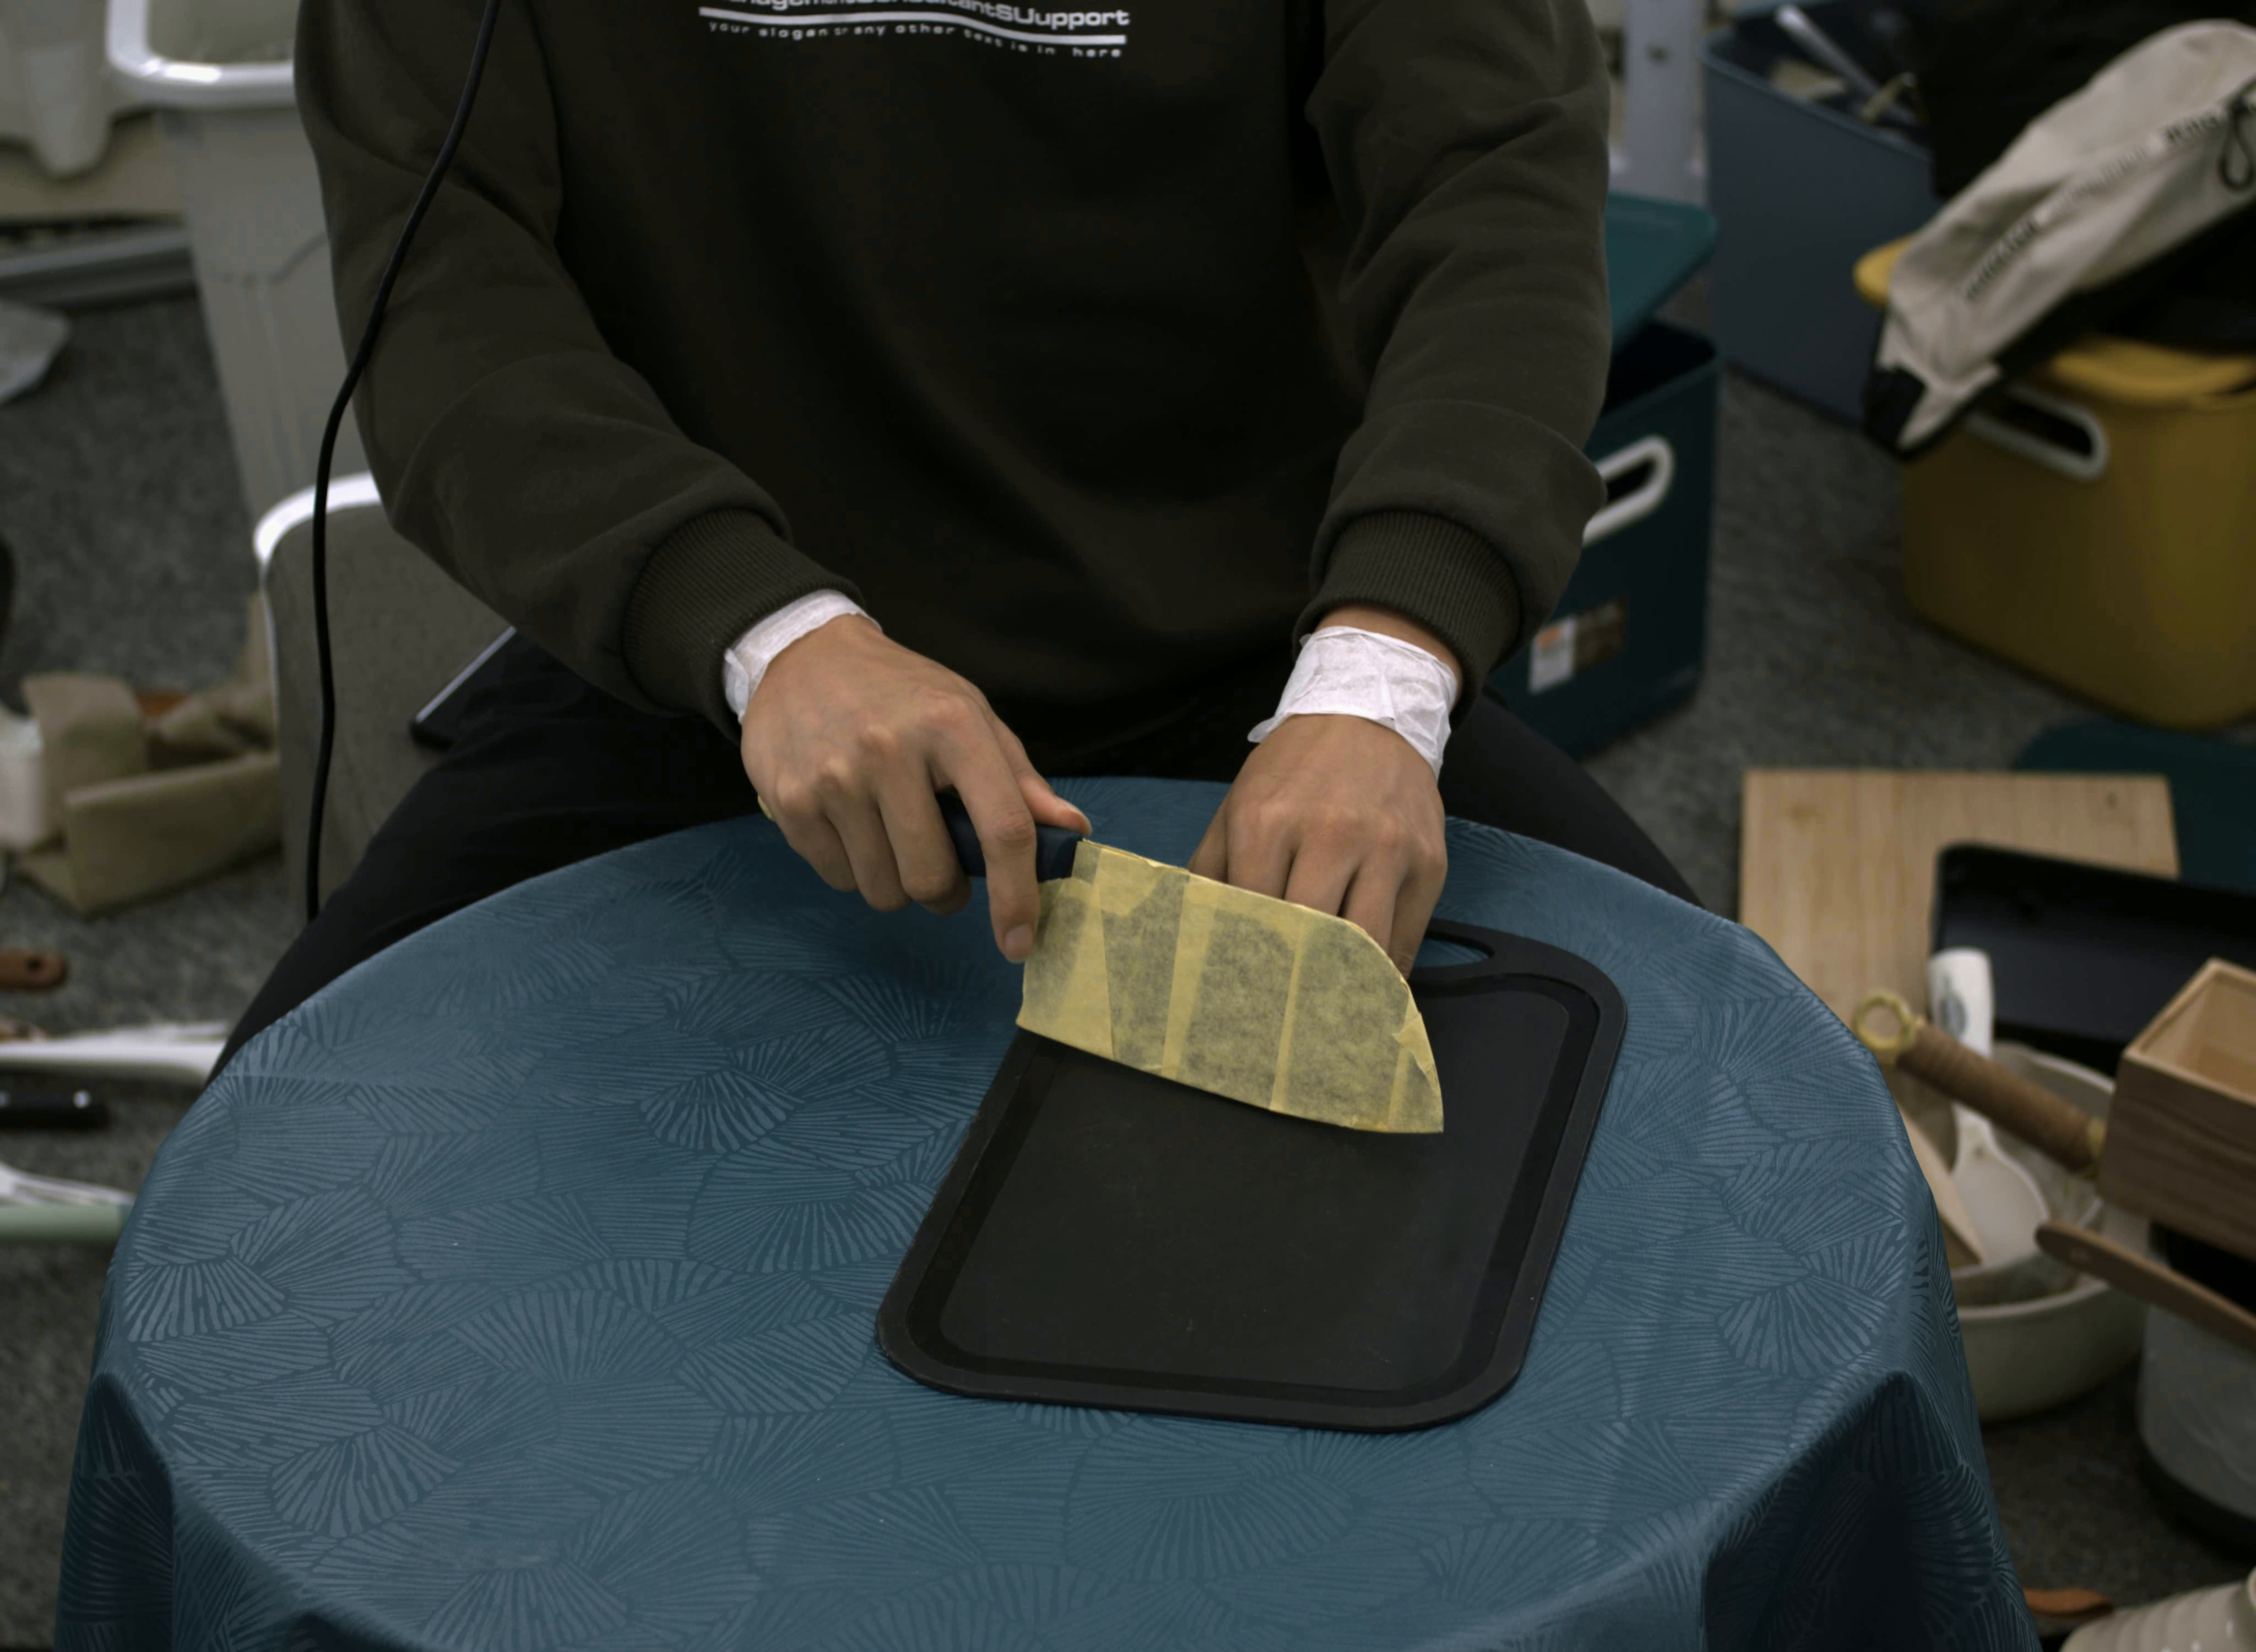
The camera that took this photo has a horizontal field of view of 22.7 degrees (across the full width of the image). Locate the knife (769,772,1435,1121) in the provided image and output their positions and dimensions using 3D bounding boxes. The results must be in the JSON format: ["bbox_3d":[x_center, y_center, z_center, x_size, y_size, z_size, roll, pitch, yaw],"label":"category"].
[{"bbox_3d":[-0.012,0.039,1.933,0.288,0.081,0.027,20,13,32],"label":"knife"}]

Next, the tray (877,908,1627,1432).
[{"bbox_3d":[0.048,0.105,1.880,0.209,0.009,0.331,4,28,13],"label":"tray"}]
